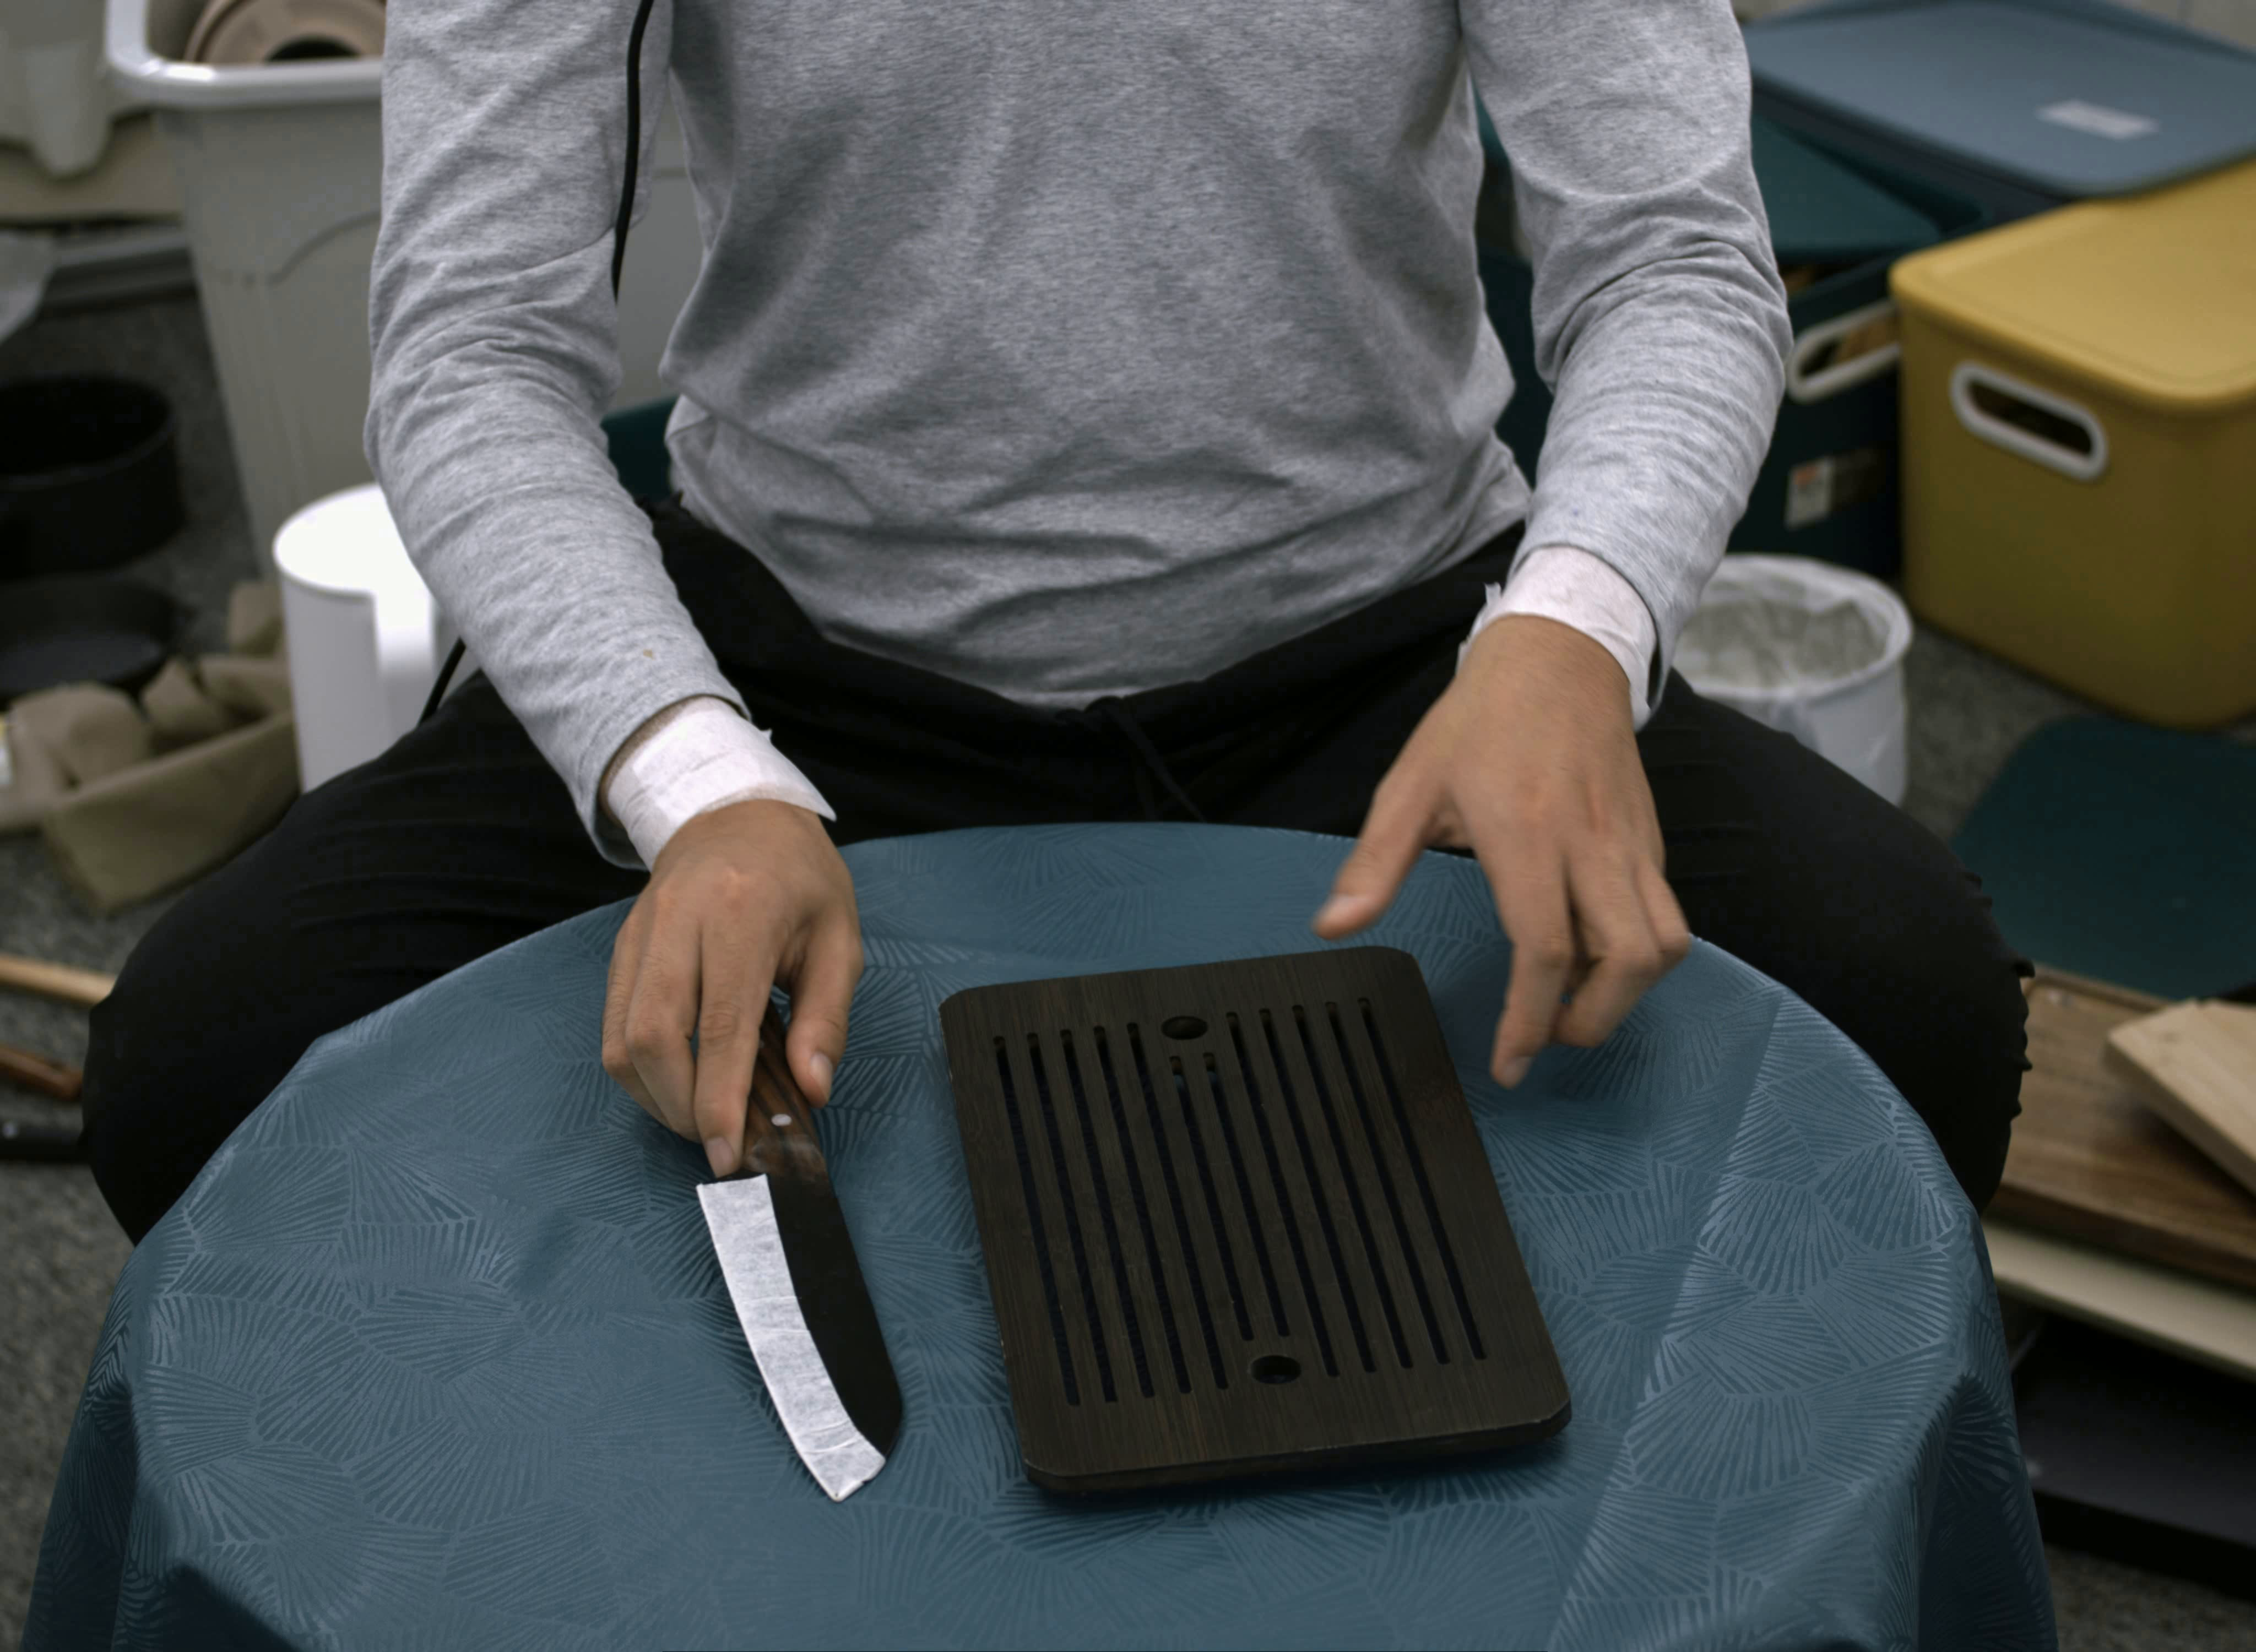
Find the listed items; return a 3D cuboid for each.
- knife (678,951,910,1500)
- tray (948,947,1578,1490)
[{"bbox_3d":[-0.113,0.127,1.826,0.050,0.020,0.293,-7,34,-9],"label":"knife"},{"bbox_3d":[0.037,0.125,1.832,0.169,0.018,0.310,-5,27,-5],"label":"tray"}]
